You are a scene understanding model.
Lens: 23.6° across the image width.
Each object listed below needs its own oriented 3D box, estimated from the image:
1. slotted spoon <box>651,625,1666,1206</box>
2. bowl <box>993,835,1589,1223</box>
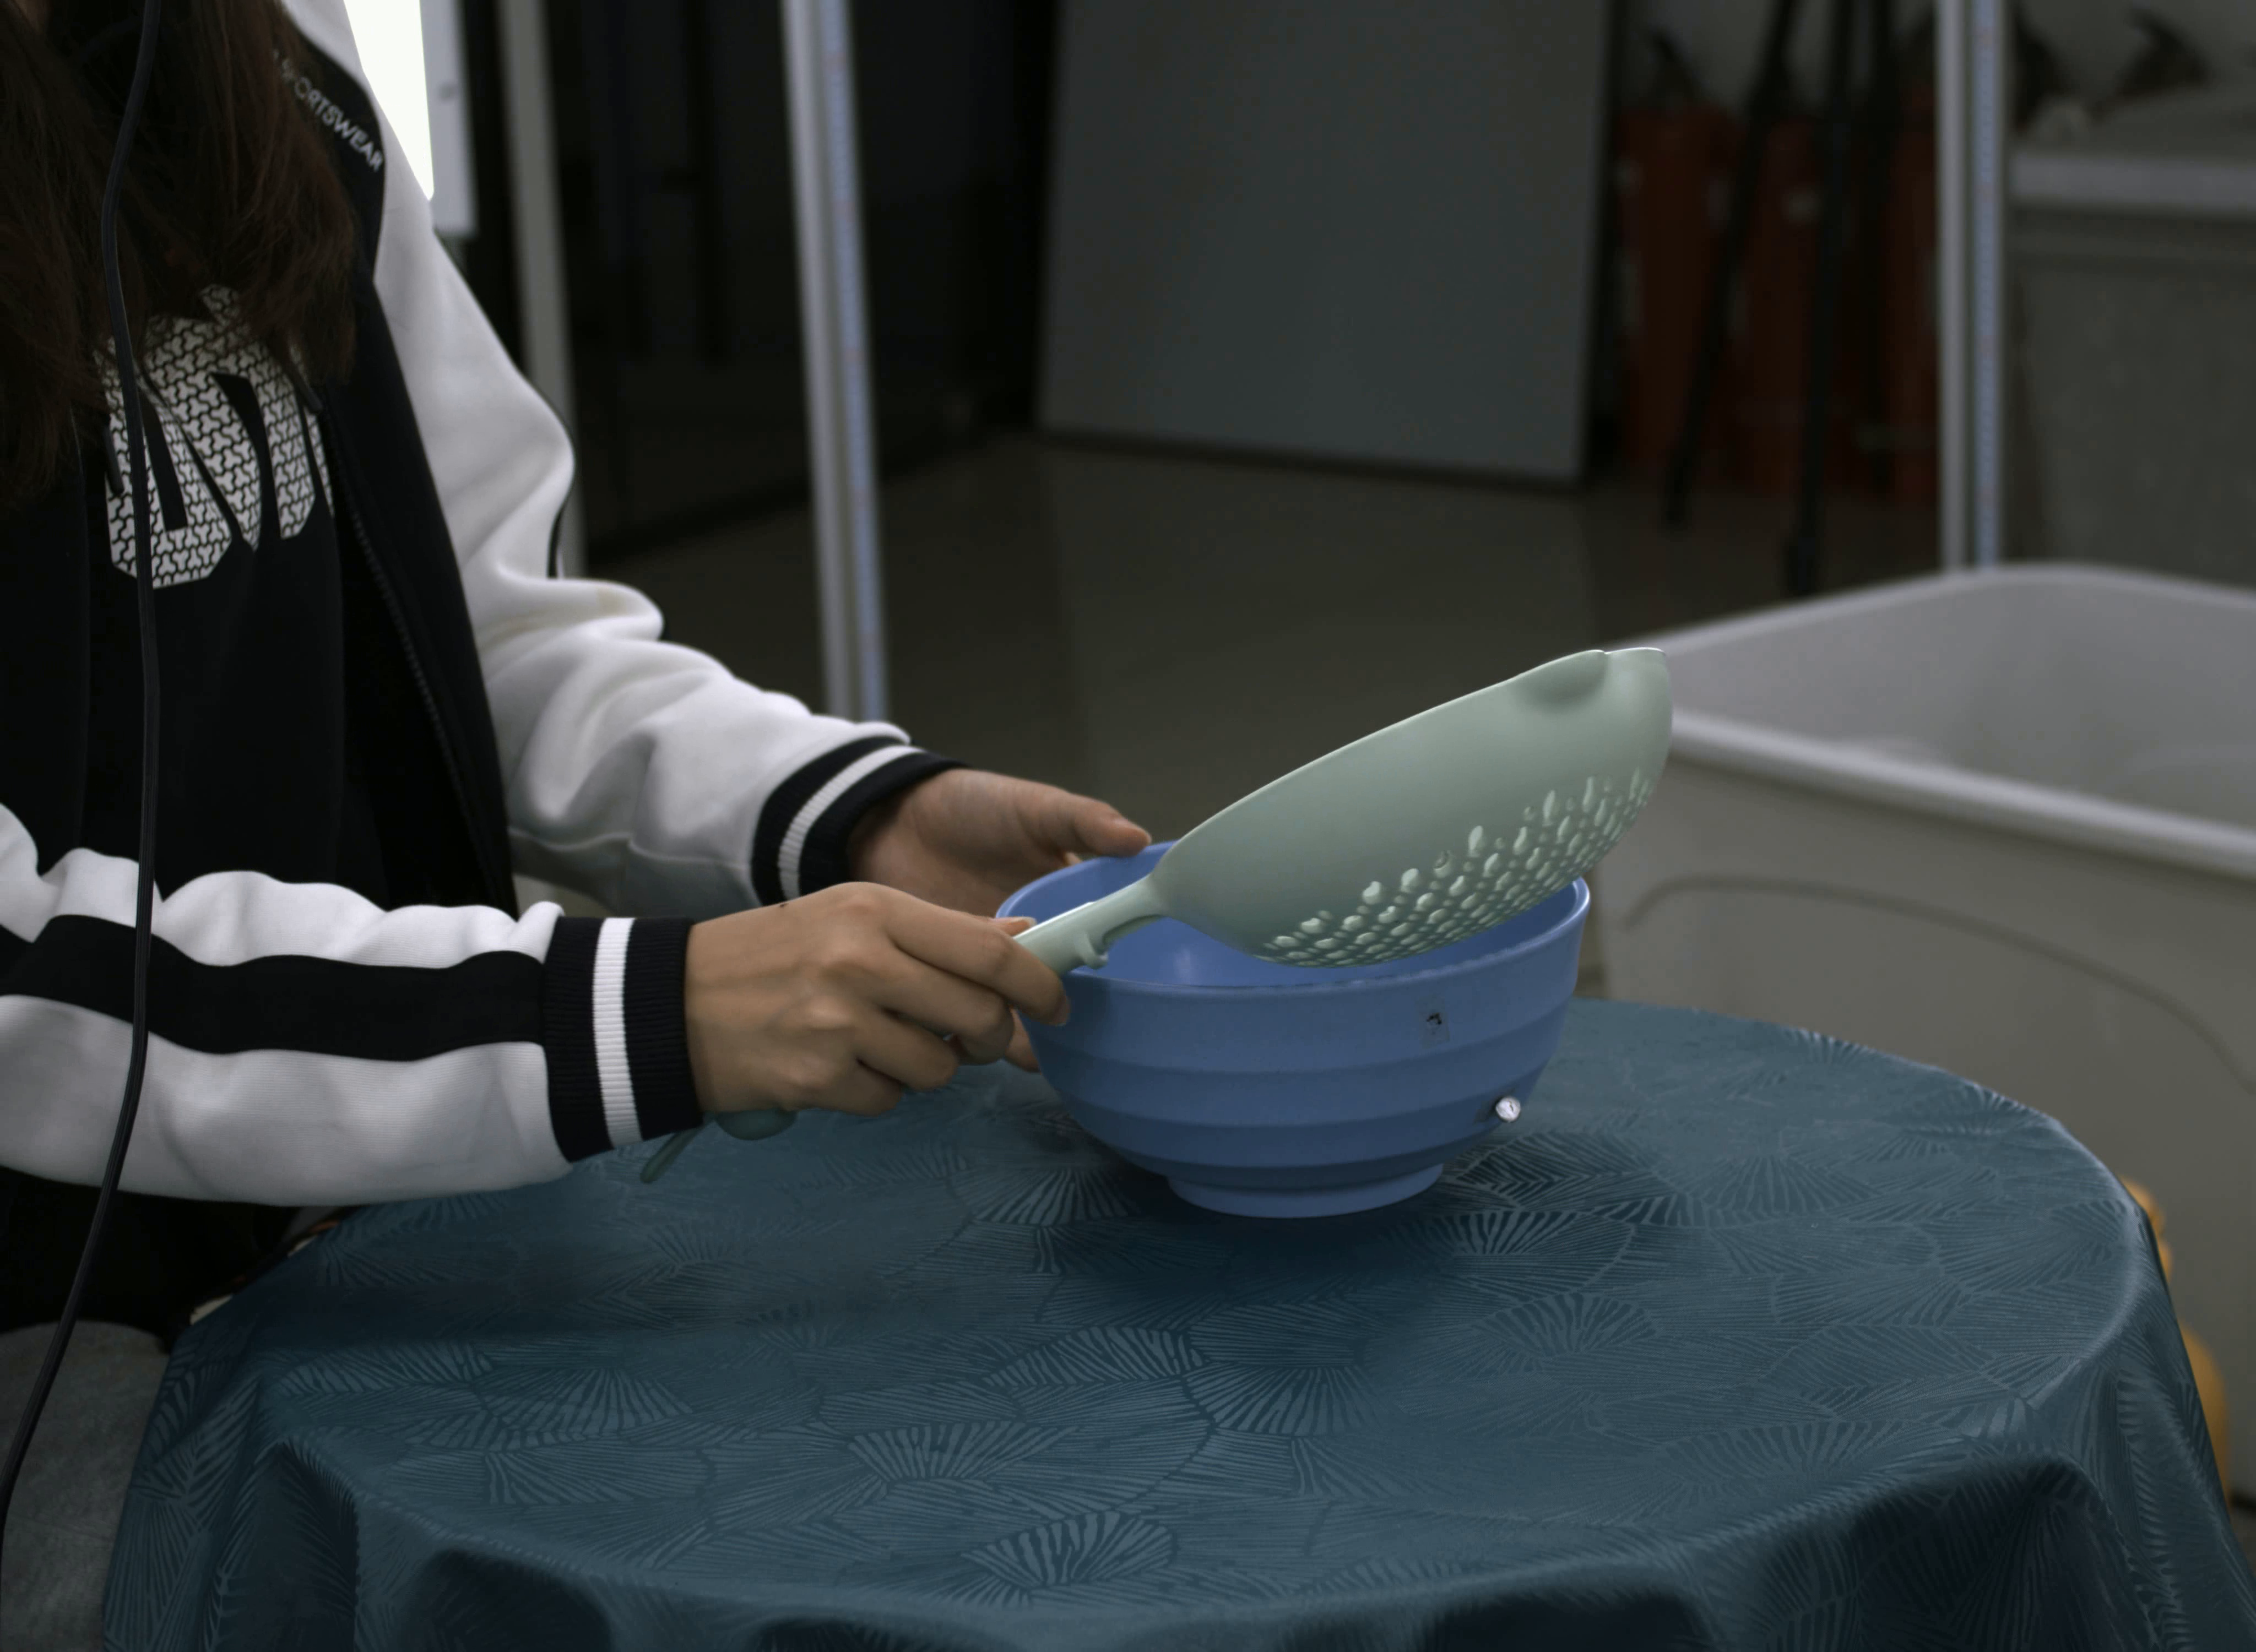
[{"bbox_3d":[0.005,0.030,1.669,0.357,0.076,0.168,-18,-9,13],"label":"slotted spoon"},{"bbox_3d":[0.056,0.070,1.762,0.194,0.096,0.197,-5,14,0],"label":"bowl"}]
